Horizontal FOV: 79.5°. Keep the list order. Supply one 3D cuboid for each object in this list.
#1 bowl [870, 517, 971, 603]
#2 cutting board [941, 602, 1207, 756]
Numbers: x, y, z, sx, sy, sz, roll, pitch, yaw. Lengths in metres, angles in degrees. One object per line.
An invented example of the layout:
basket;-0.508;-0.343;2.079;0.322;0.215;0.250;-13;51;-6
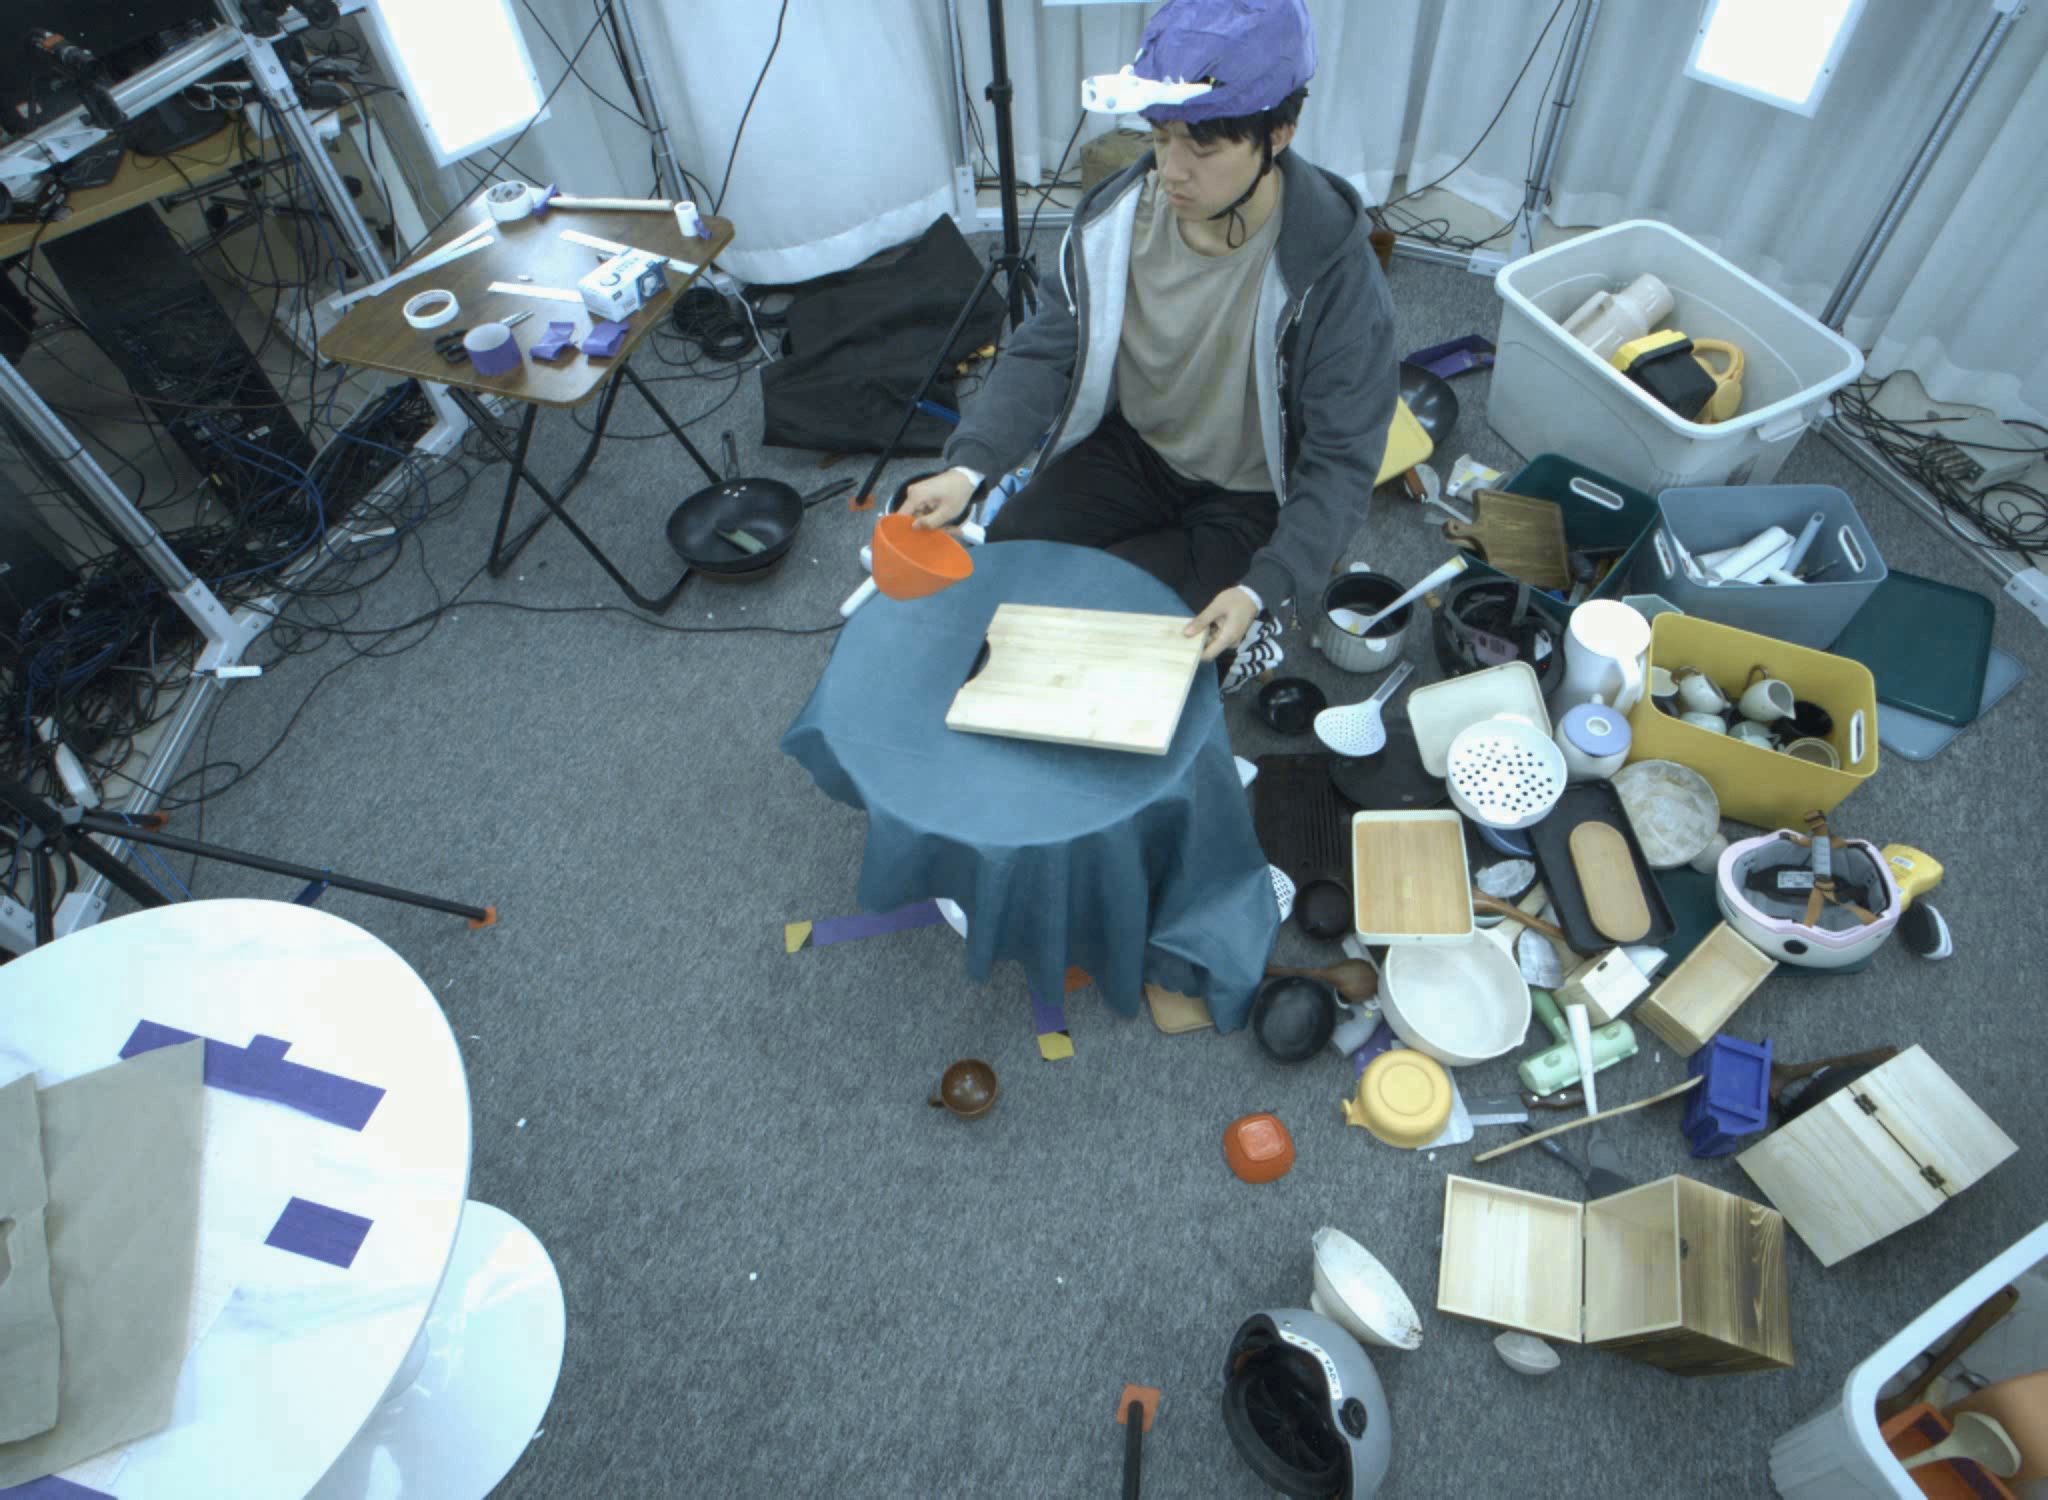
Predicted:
bowl;-0.162;-0.258;1.733;0.150;0.104;0.146;25;40;-22
cutting board;0.073;-0.112;1.811;0.343;0.024;0.250;7;56;22
